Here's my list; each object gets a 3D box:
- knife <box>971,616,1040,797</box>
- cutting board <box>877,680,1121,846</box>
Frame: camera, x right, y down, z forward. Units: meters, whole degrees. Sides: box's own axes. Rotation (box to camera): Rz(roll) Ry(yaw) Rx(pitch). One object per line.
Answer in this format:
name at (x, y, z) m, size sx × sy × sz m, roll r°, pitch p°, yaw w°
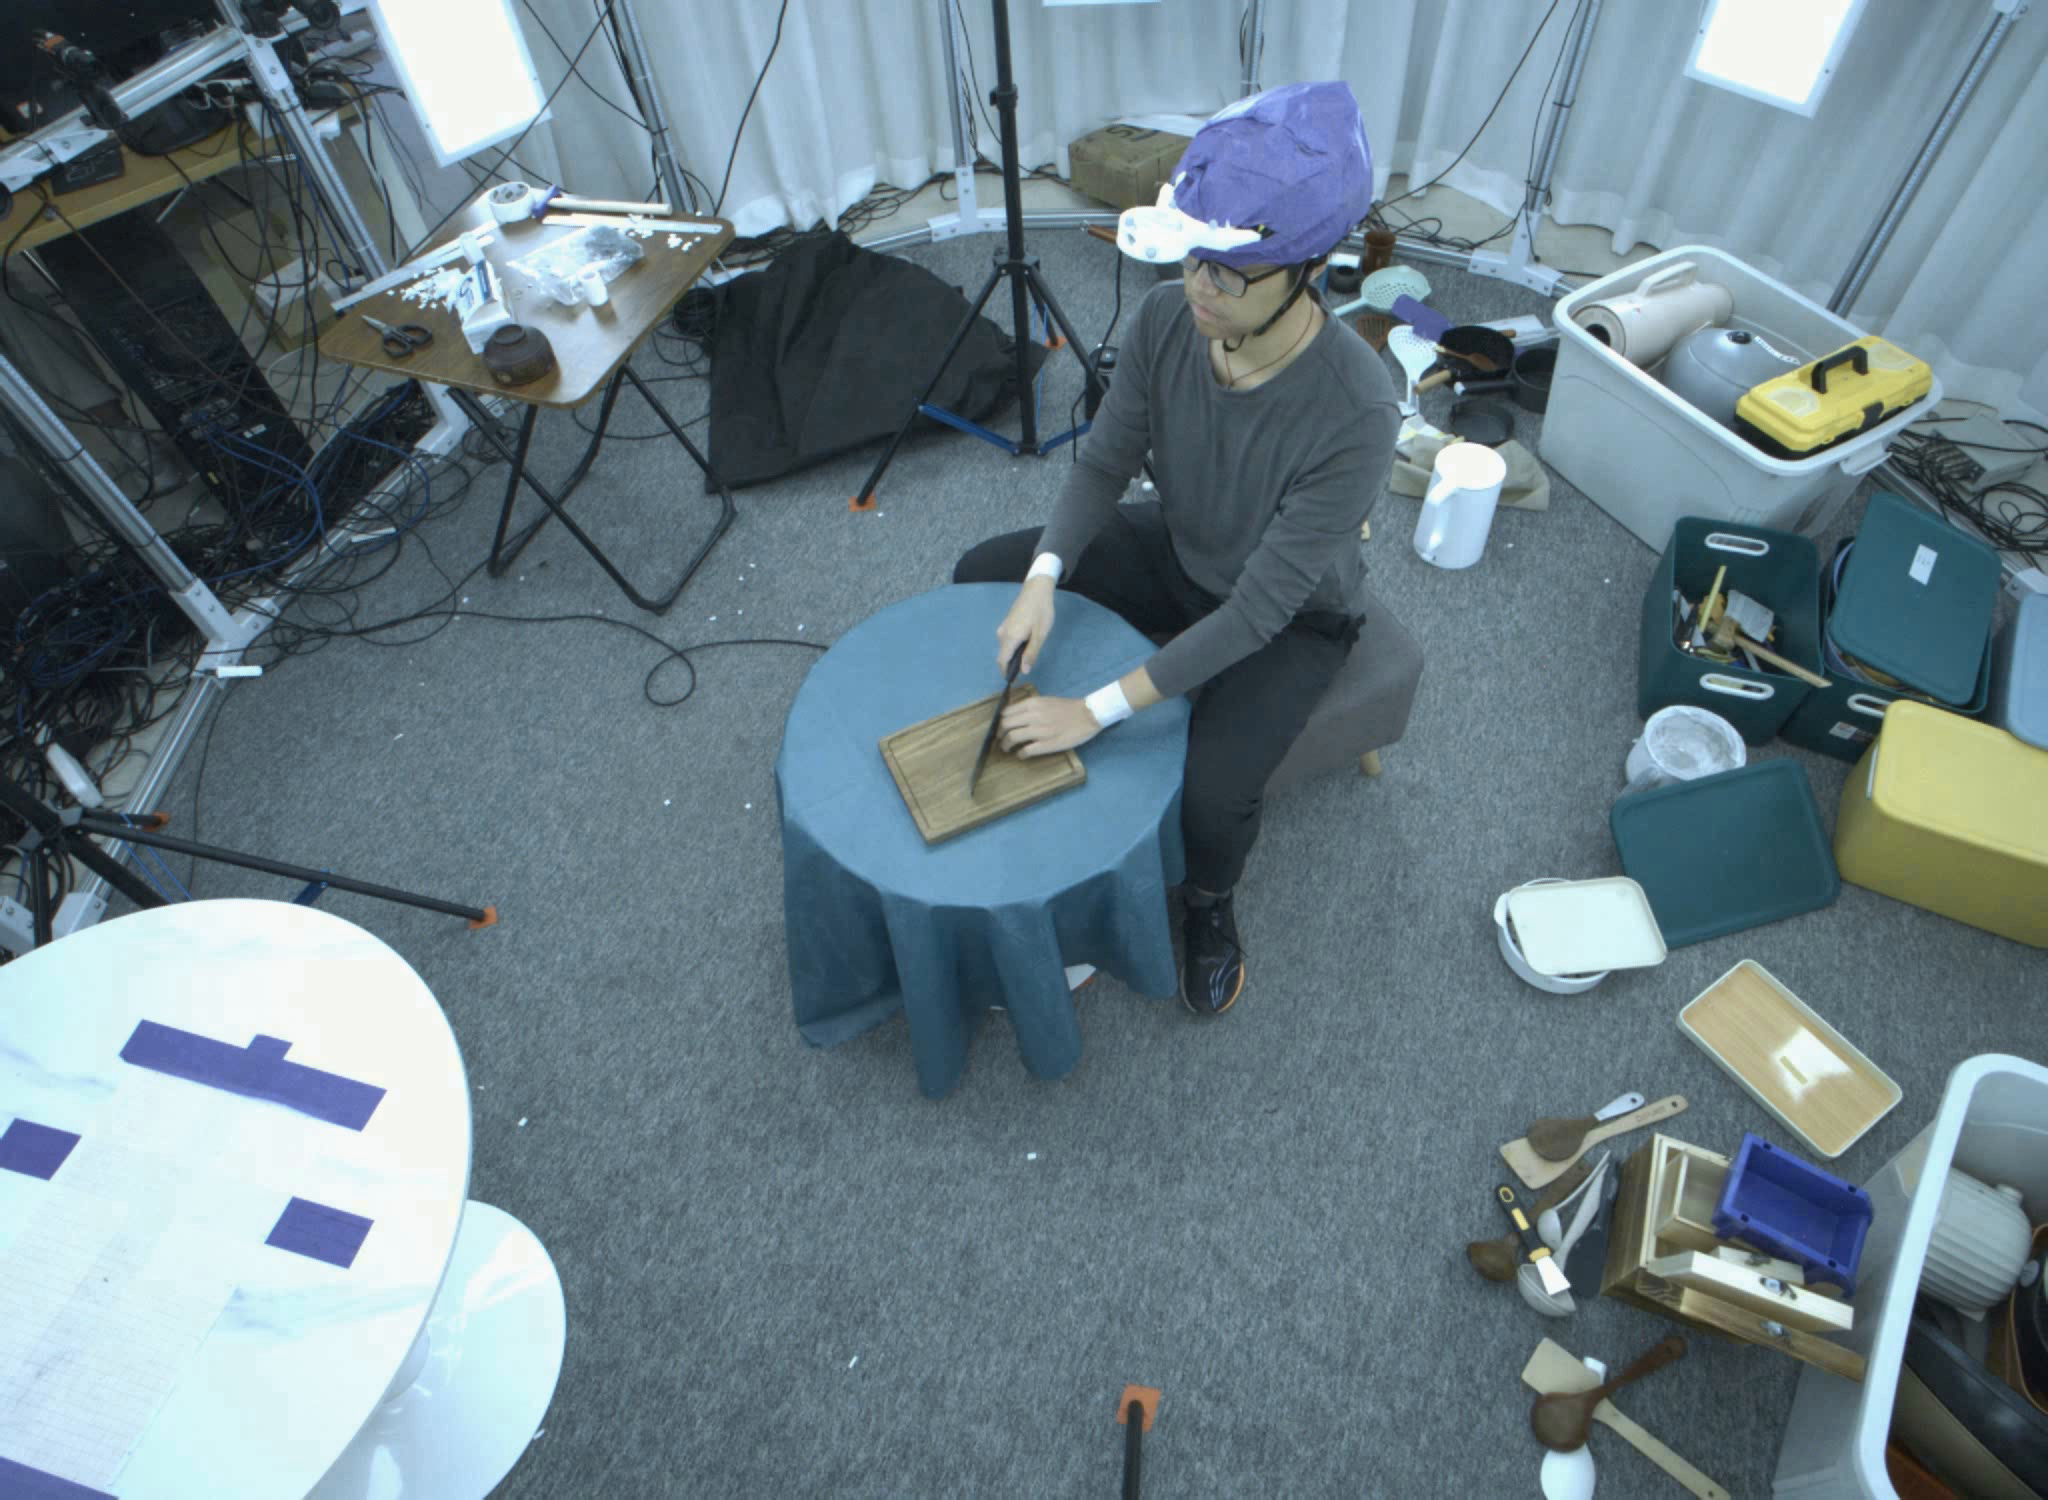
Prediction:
knife at (-0.029, -0.070, 1.773) m, size 0.021 × 0.081 × 0.301 m, roll 16°, pitch 64°, yaw 7°
cutting board at (-0.017, -0.004, 1.785) m, size 0.355 × 0.023 × 0.197 m, roll -22°, pitch 58°, yaw -14°
